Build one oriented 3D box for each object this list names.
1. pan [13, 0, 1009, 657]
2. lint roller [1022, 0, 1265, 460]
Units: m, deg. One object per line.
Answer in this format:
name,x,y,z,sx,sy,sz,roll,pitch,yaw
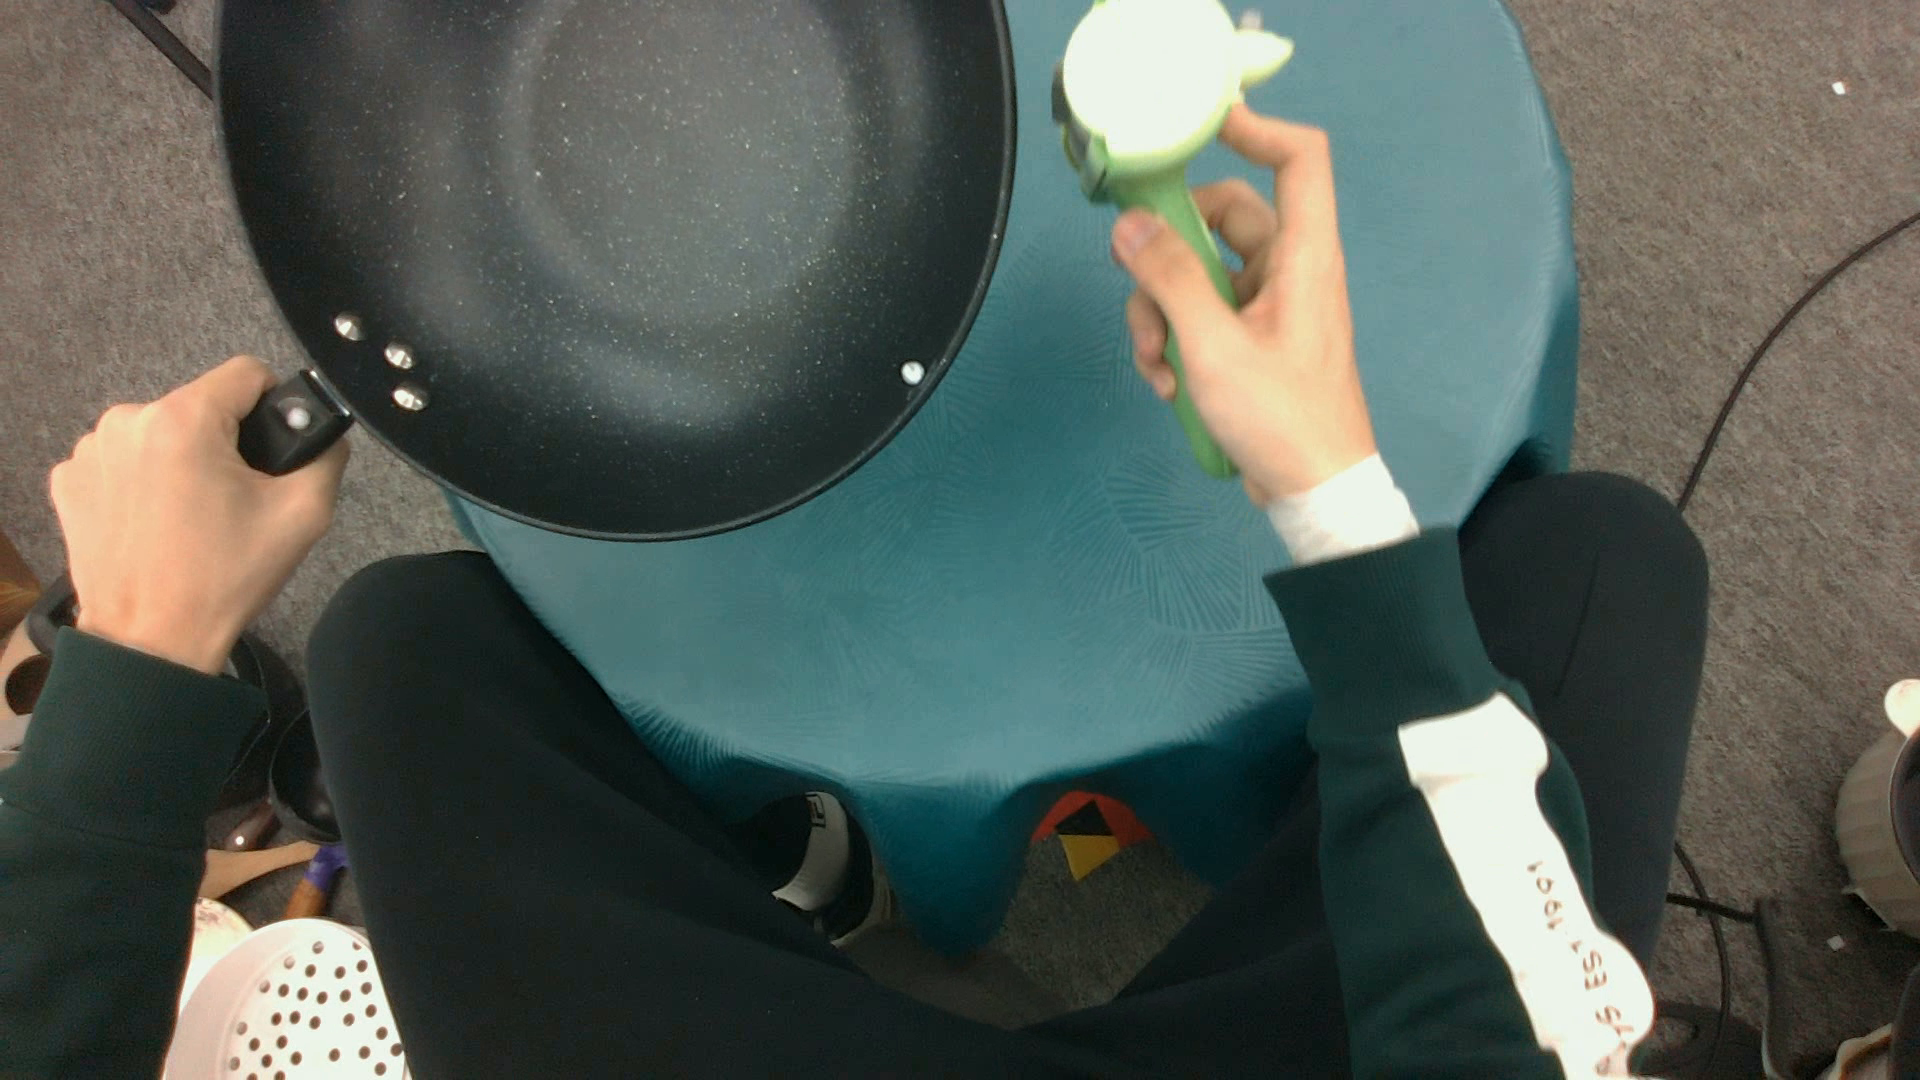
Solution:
pan,-0.193,-0.113,0.547,0.475,0.112,0.310,-39,93,16
lint roller,0.085,-0.126,0.513,0.082,0.199,0.183,-28,98,6
